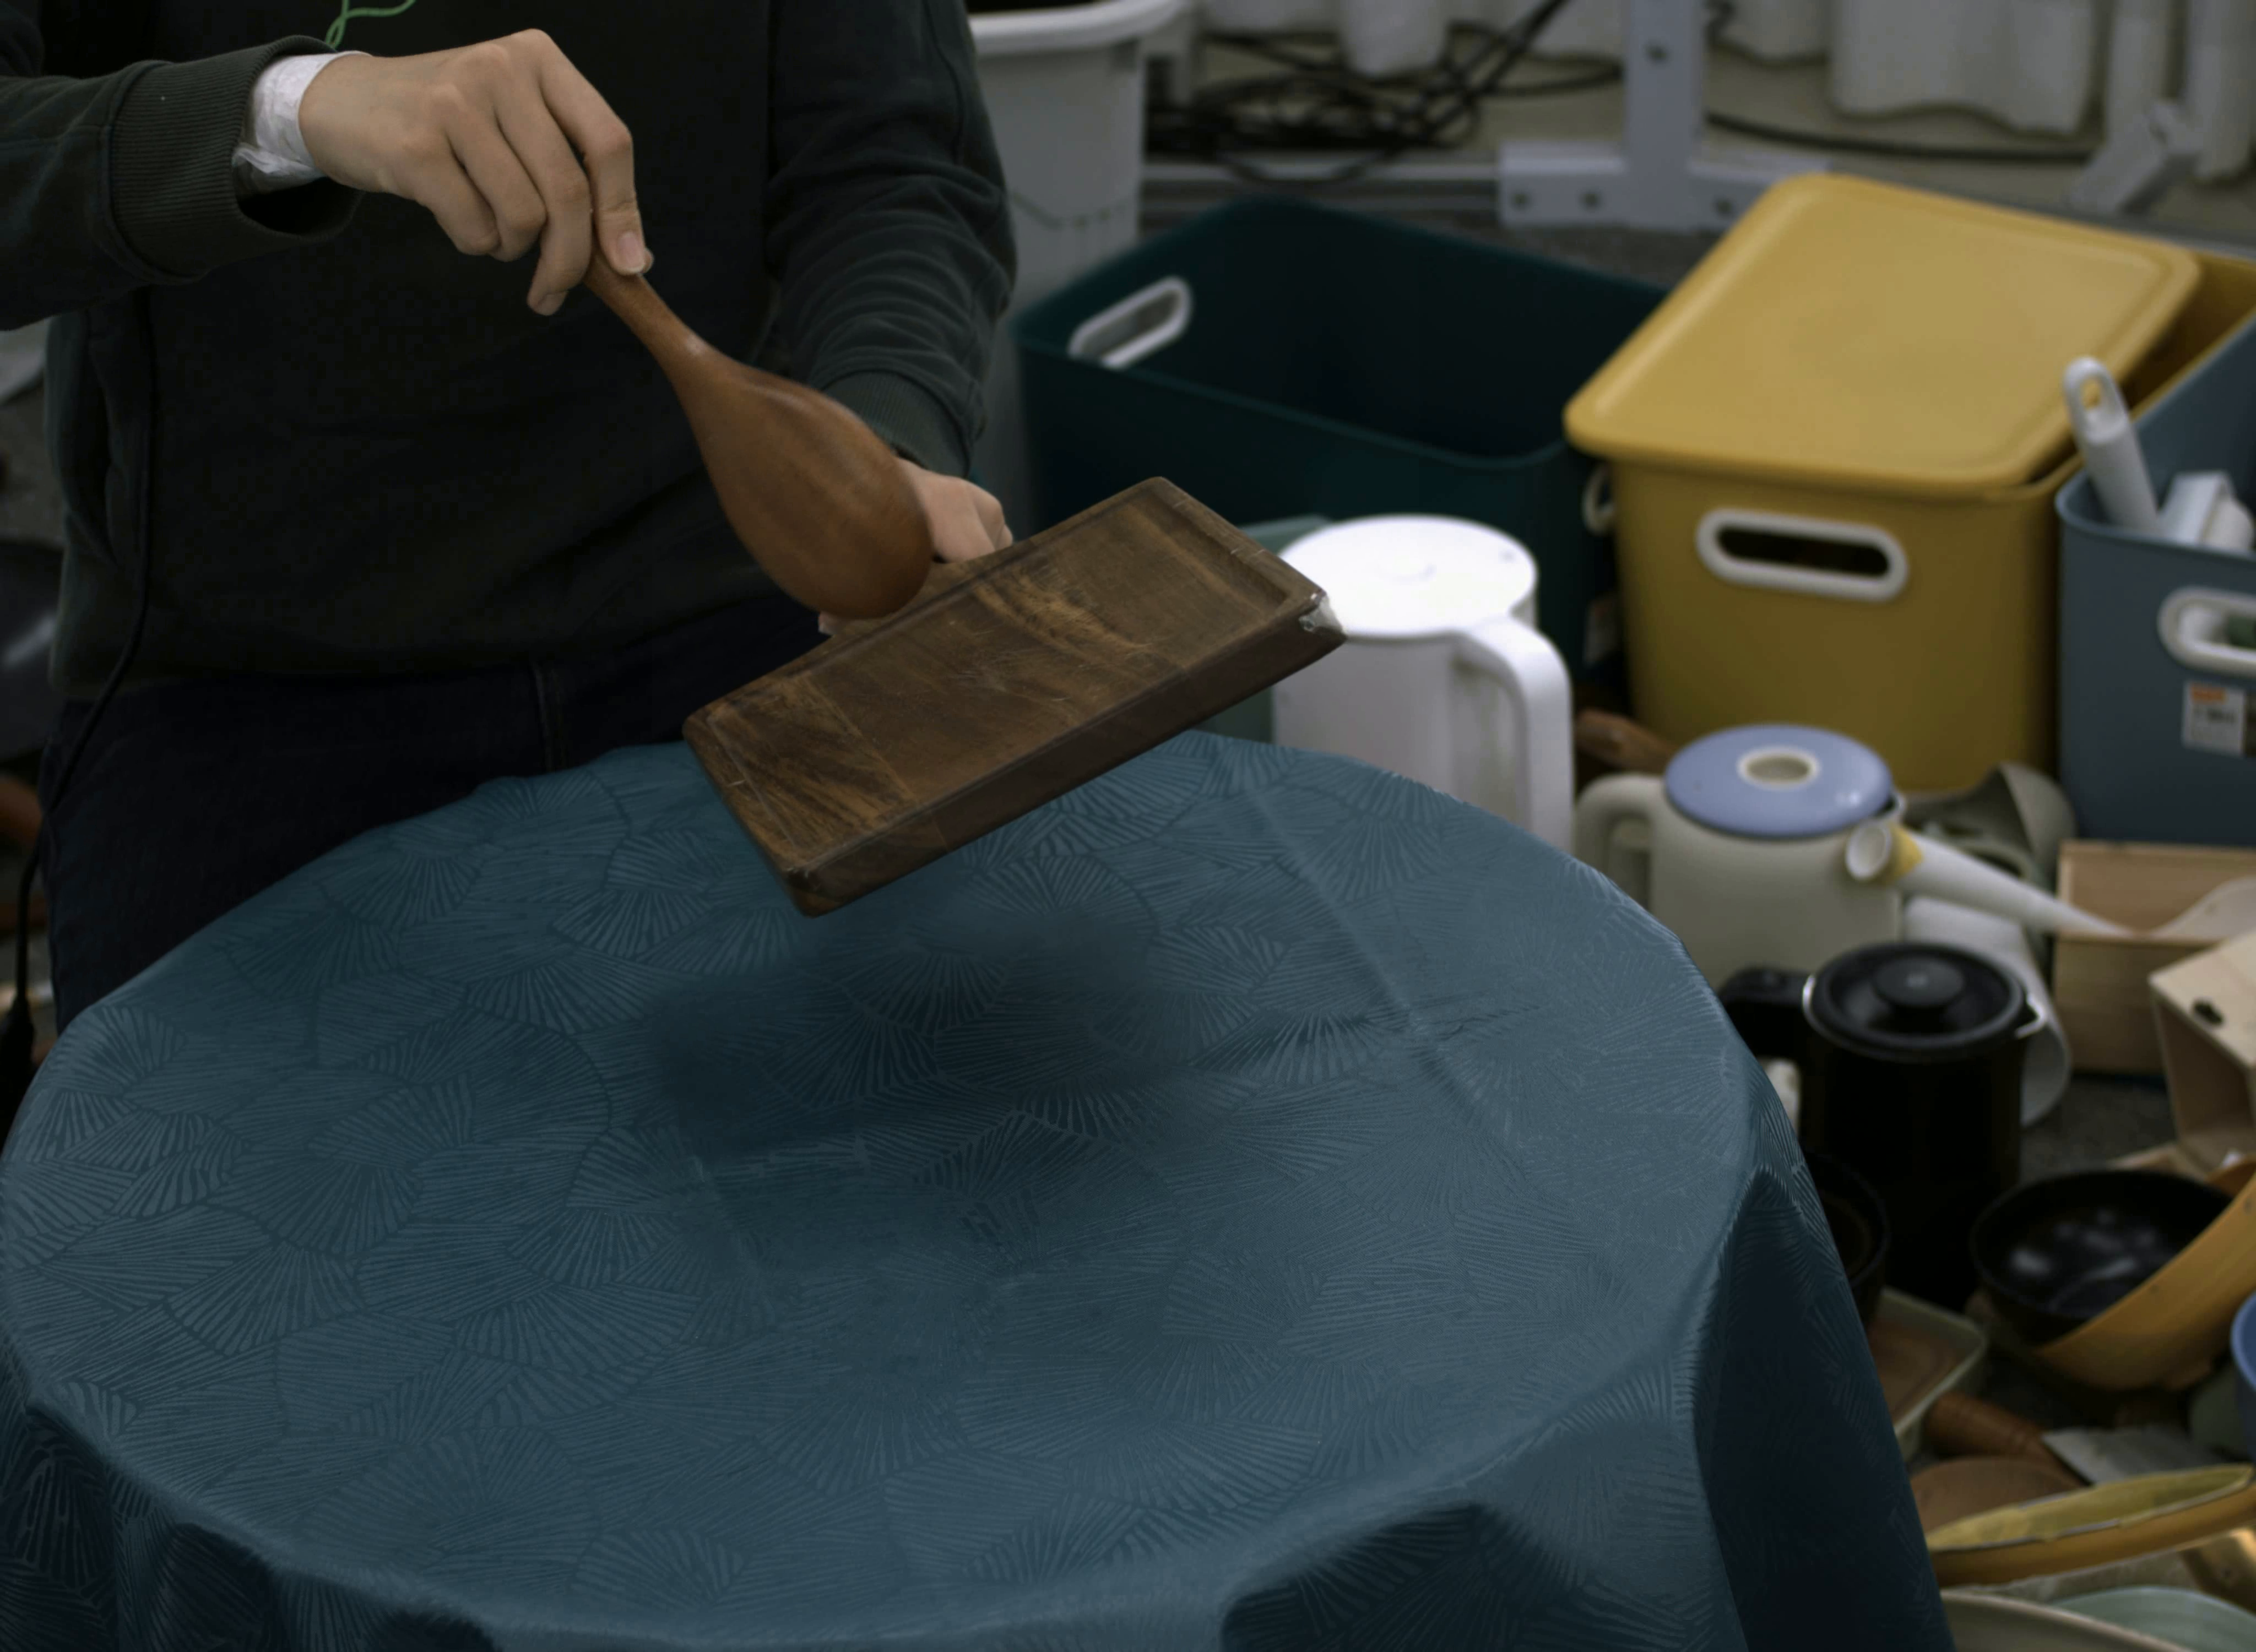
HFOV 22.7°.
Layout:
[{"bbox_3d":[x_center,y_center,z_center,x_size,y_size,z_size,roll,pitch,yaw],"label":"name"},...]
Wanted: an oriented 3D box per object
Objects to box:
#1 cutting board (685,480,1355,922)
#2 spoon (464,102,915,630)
[{"bbox_3d":[-0.052,-0.057,1.933,0.201,0.023,0.353,-28,16,-6],"label":"cutting board"},{"bbox_3d":[-0.148,-0.152,1.875,0.216,0.074,0.017,51,44,3],"label":"spoon"}]
